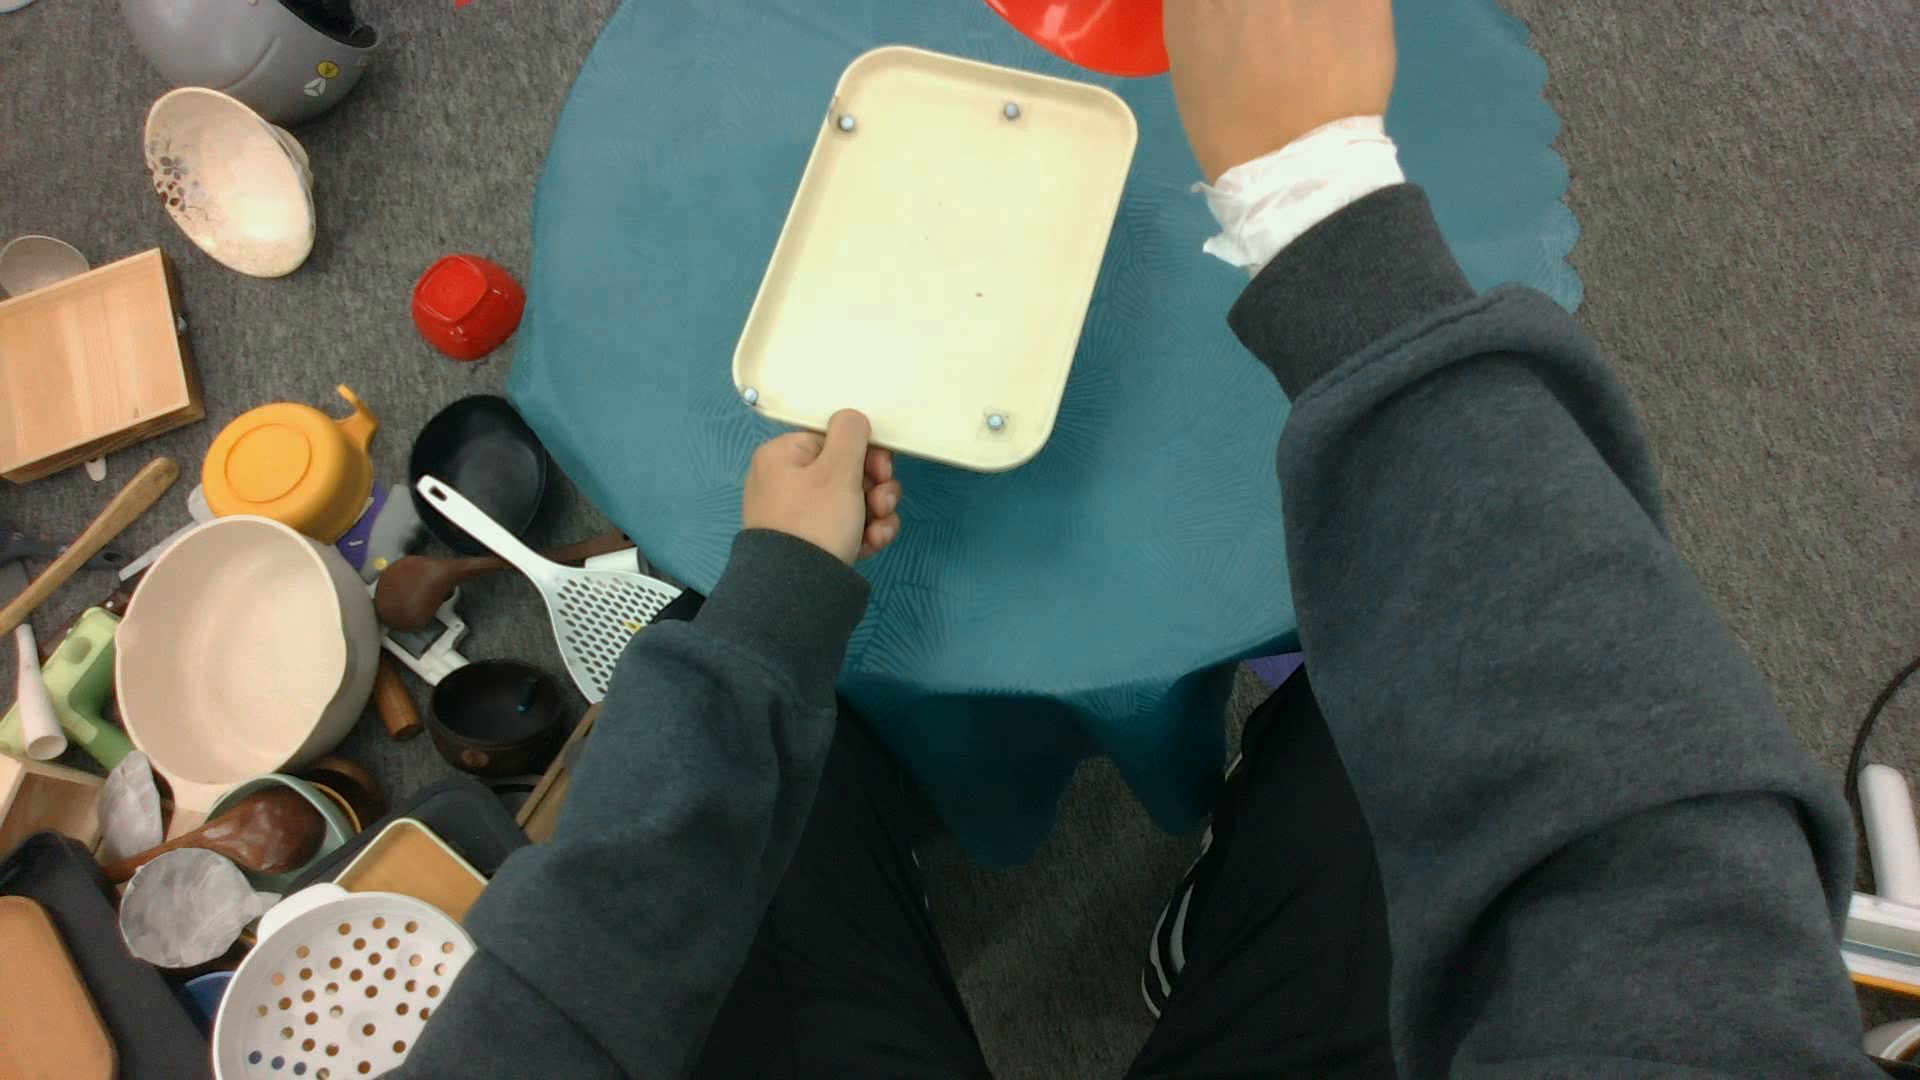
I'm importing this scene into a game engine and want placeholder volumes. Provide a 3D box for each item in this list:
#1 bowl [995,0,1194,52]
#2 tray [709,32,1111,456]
[{"bbox_3d":[0.054,-0.280,0.540,0.148,0.148,0.105,37,86,14],"label":"bowl"},{"bbox_3d":[-0.023,-0.162,0.733,0.171,0.017,0.240,14,70,6],"label":"tray"}]
